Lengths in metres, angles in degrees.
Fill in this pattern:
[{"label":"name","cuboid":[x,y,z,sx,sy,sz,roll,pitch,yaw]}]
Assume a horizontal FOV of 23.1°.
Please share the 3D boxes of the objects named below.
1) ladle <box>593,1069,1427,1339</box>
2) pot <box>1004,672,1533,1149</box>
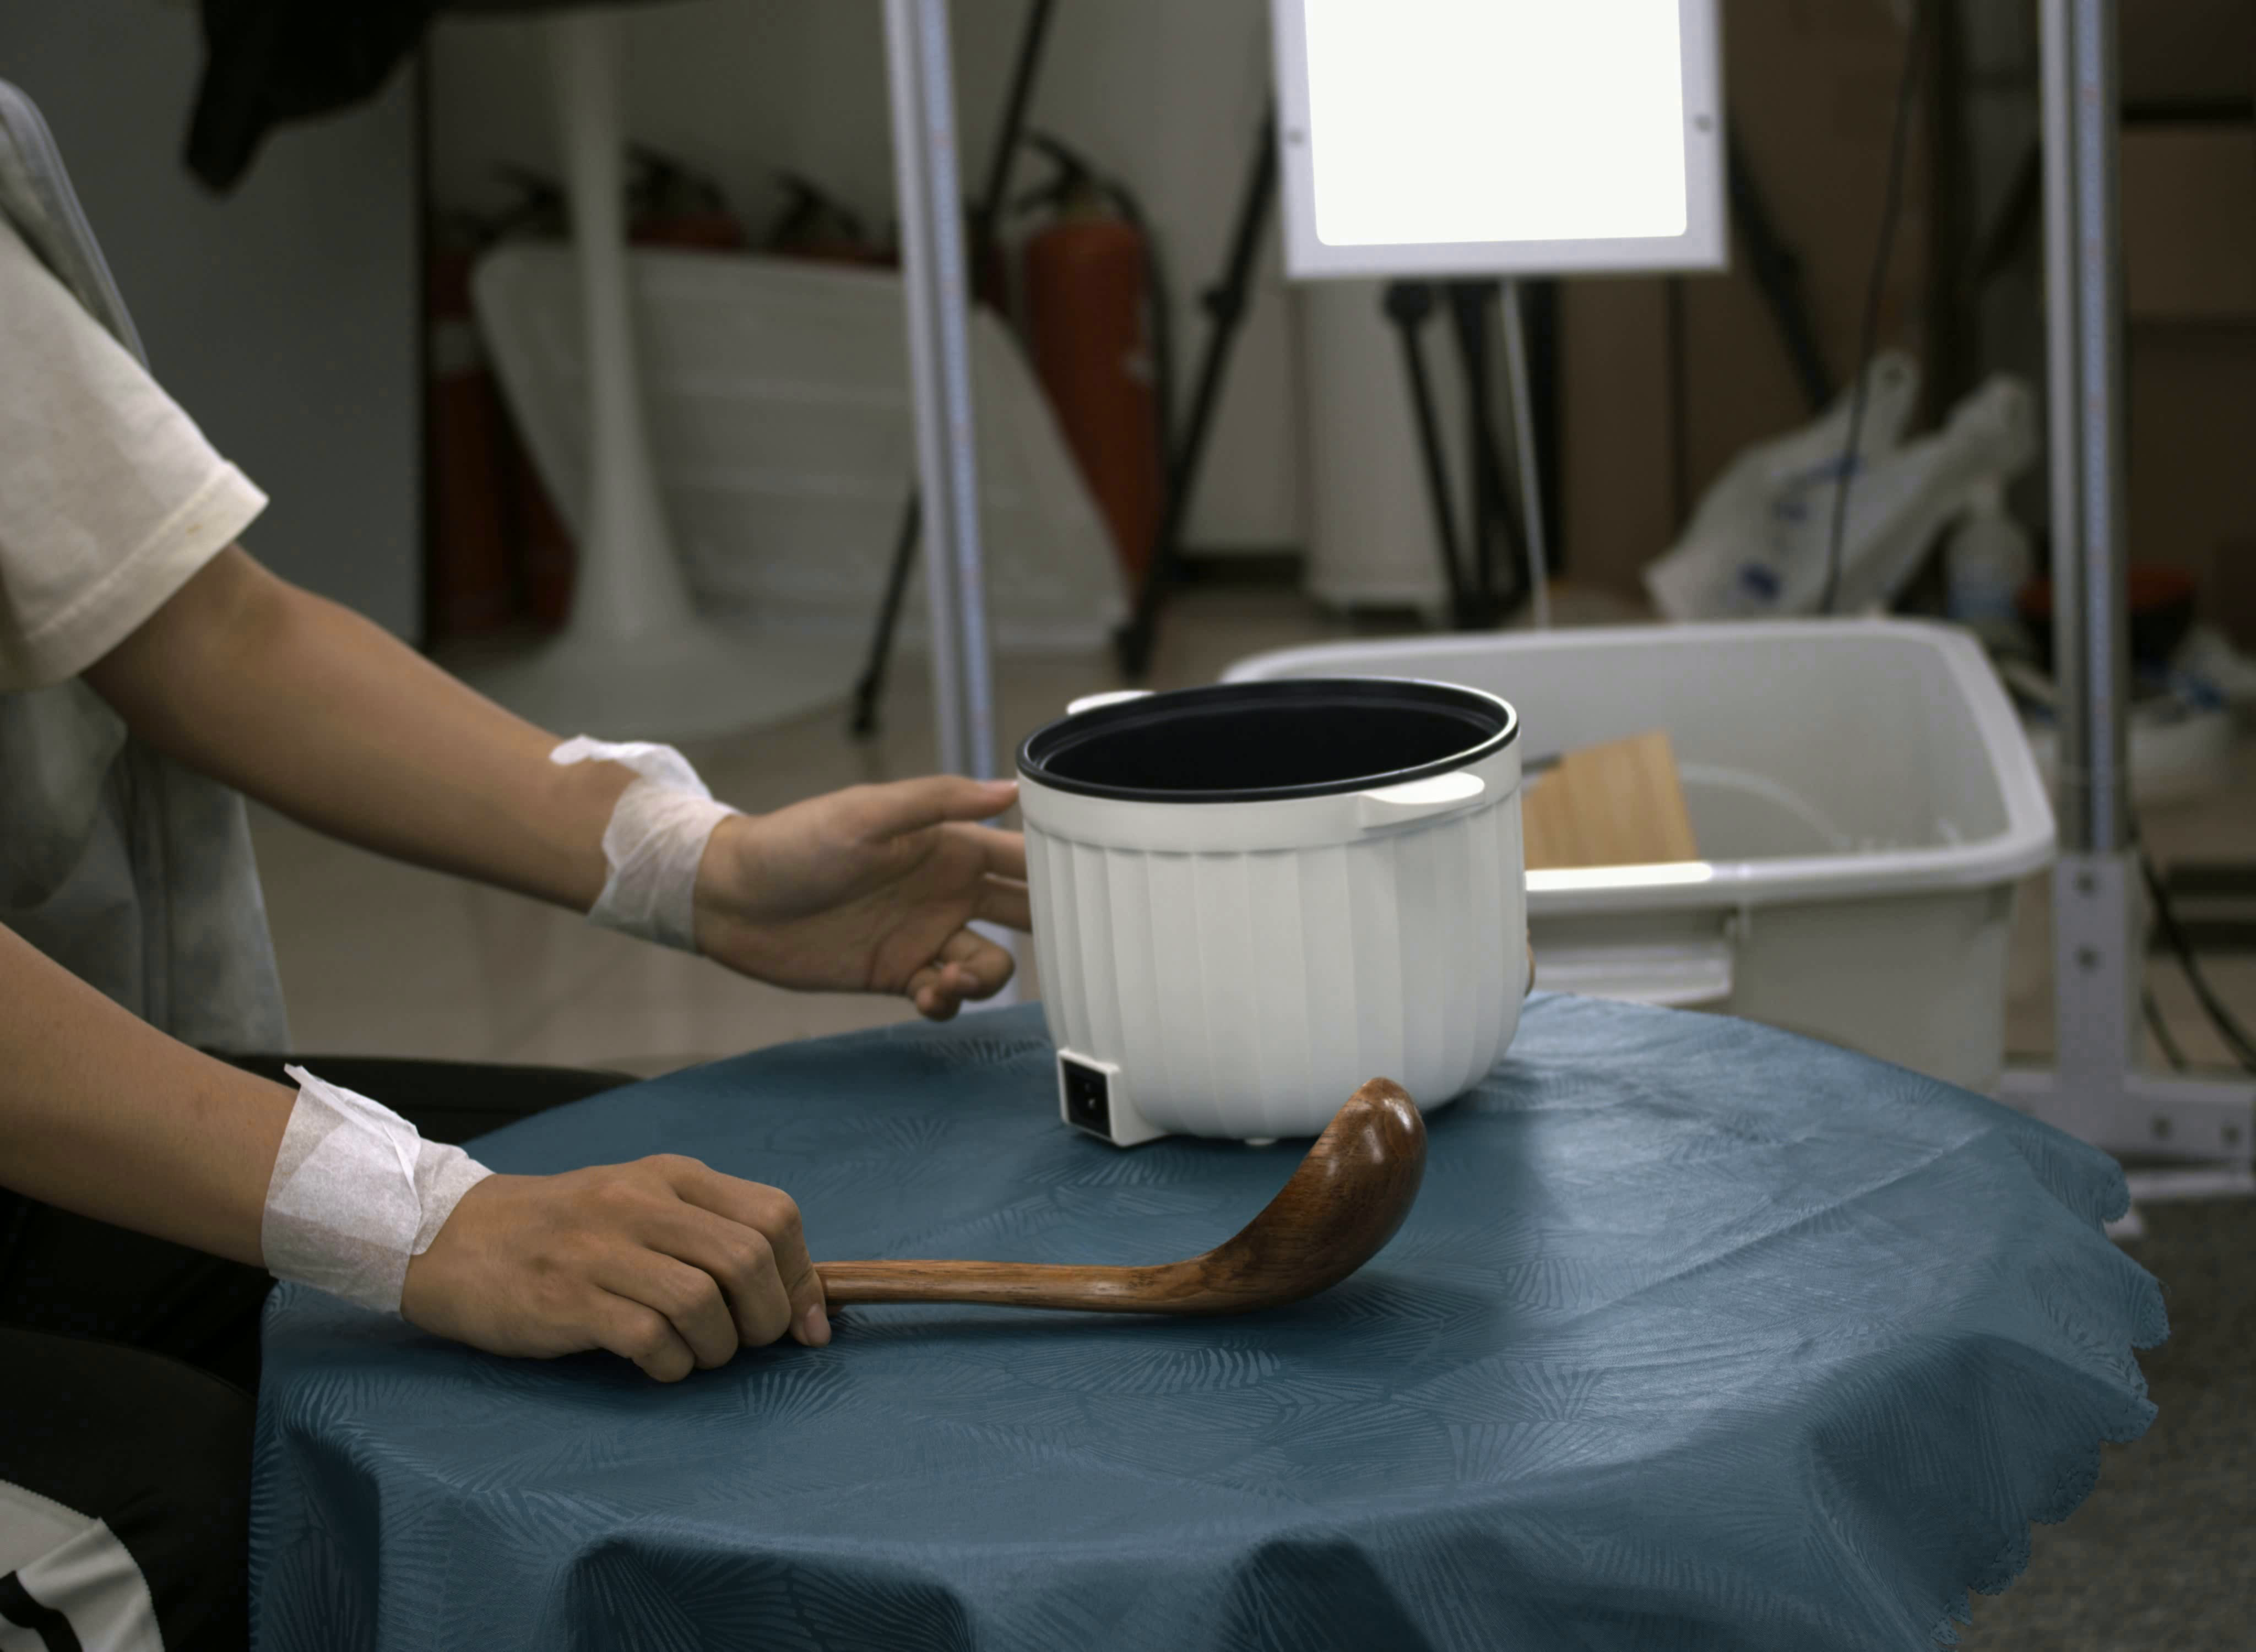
[{"label":"ladle","cuboid":[-0.039,0.121,1.774,0.276,0.076,0.081,-3,-18,12]},{"label":"pot","cuboid":[0.058,0.029,1.981,0.186,0.143,0.245,-16,18,-28]}]
